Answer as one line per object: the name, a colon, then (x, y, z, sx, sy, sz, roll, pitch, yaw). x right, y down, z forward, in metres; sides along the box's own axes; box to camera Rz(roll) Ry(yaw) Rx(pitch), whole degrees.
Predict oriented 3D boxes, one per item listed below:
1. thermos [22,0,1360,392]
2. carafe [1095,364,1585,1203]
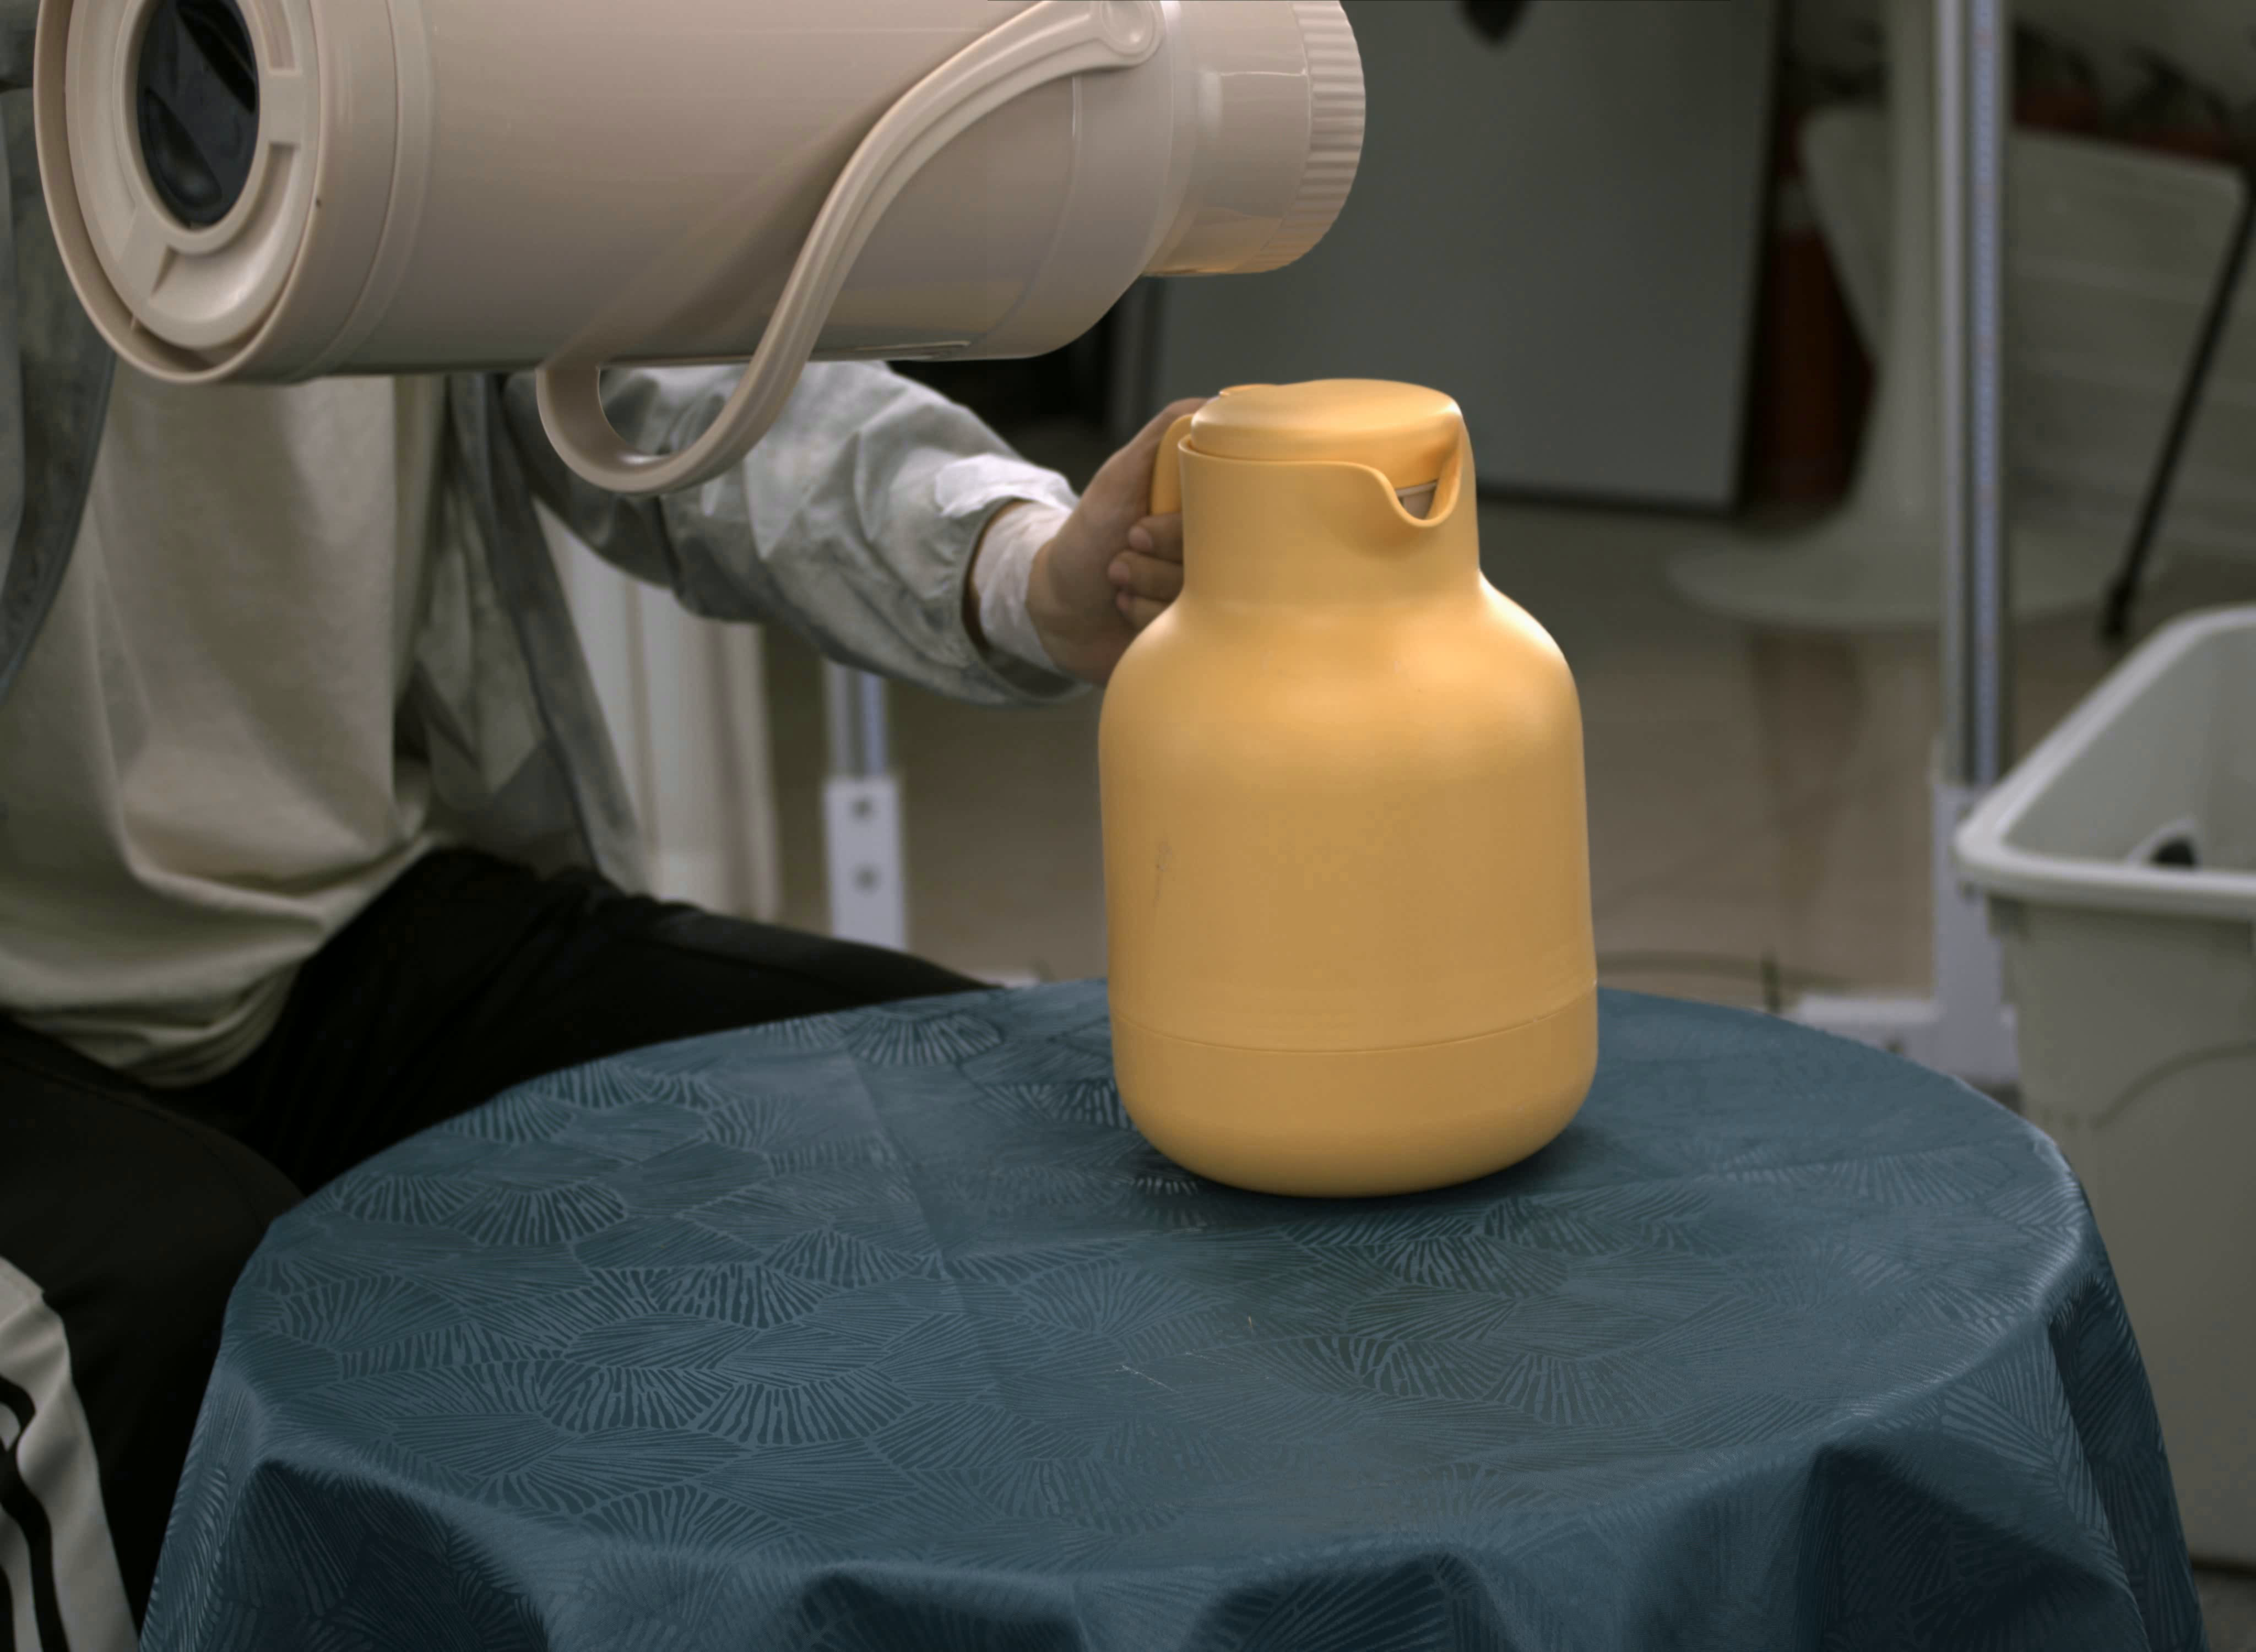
thermos: (-0.116, -0.234, 1.608, 0.397, 0.210, 0.177, -5, -9, -37)
carafe: (0.063, -0.022, 1.788, 0.160, 0.263, 0.204, -6, 14, -20)
